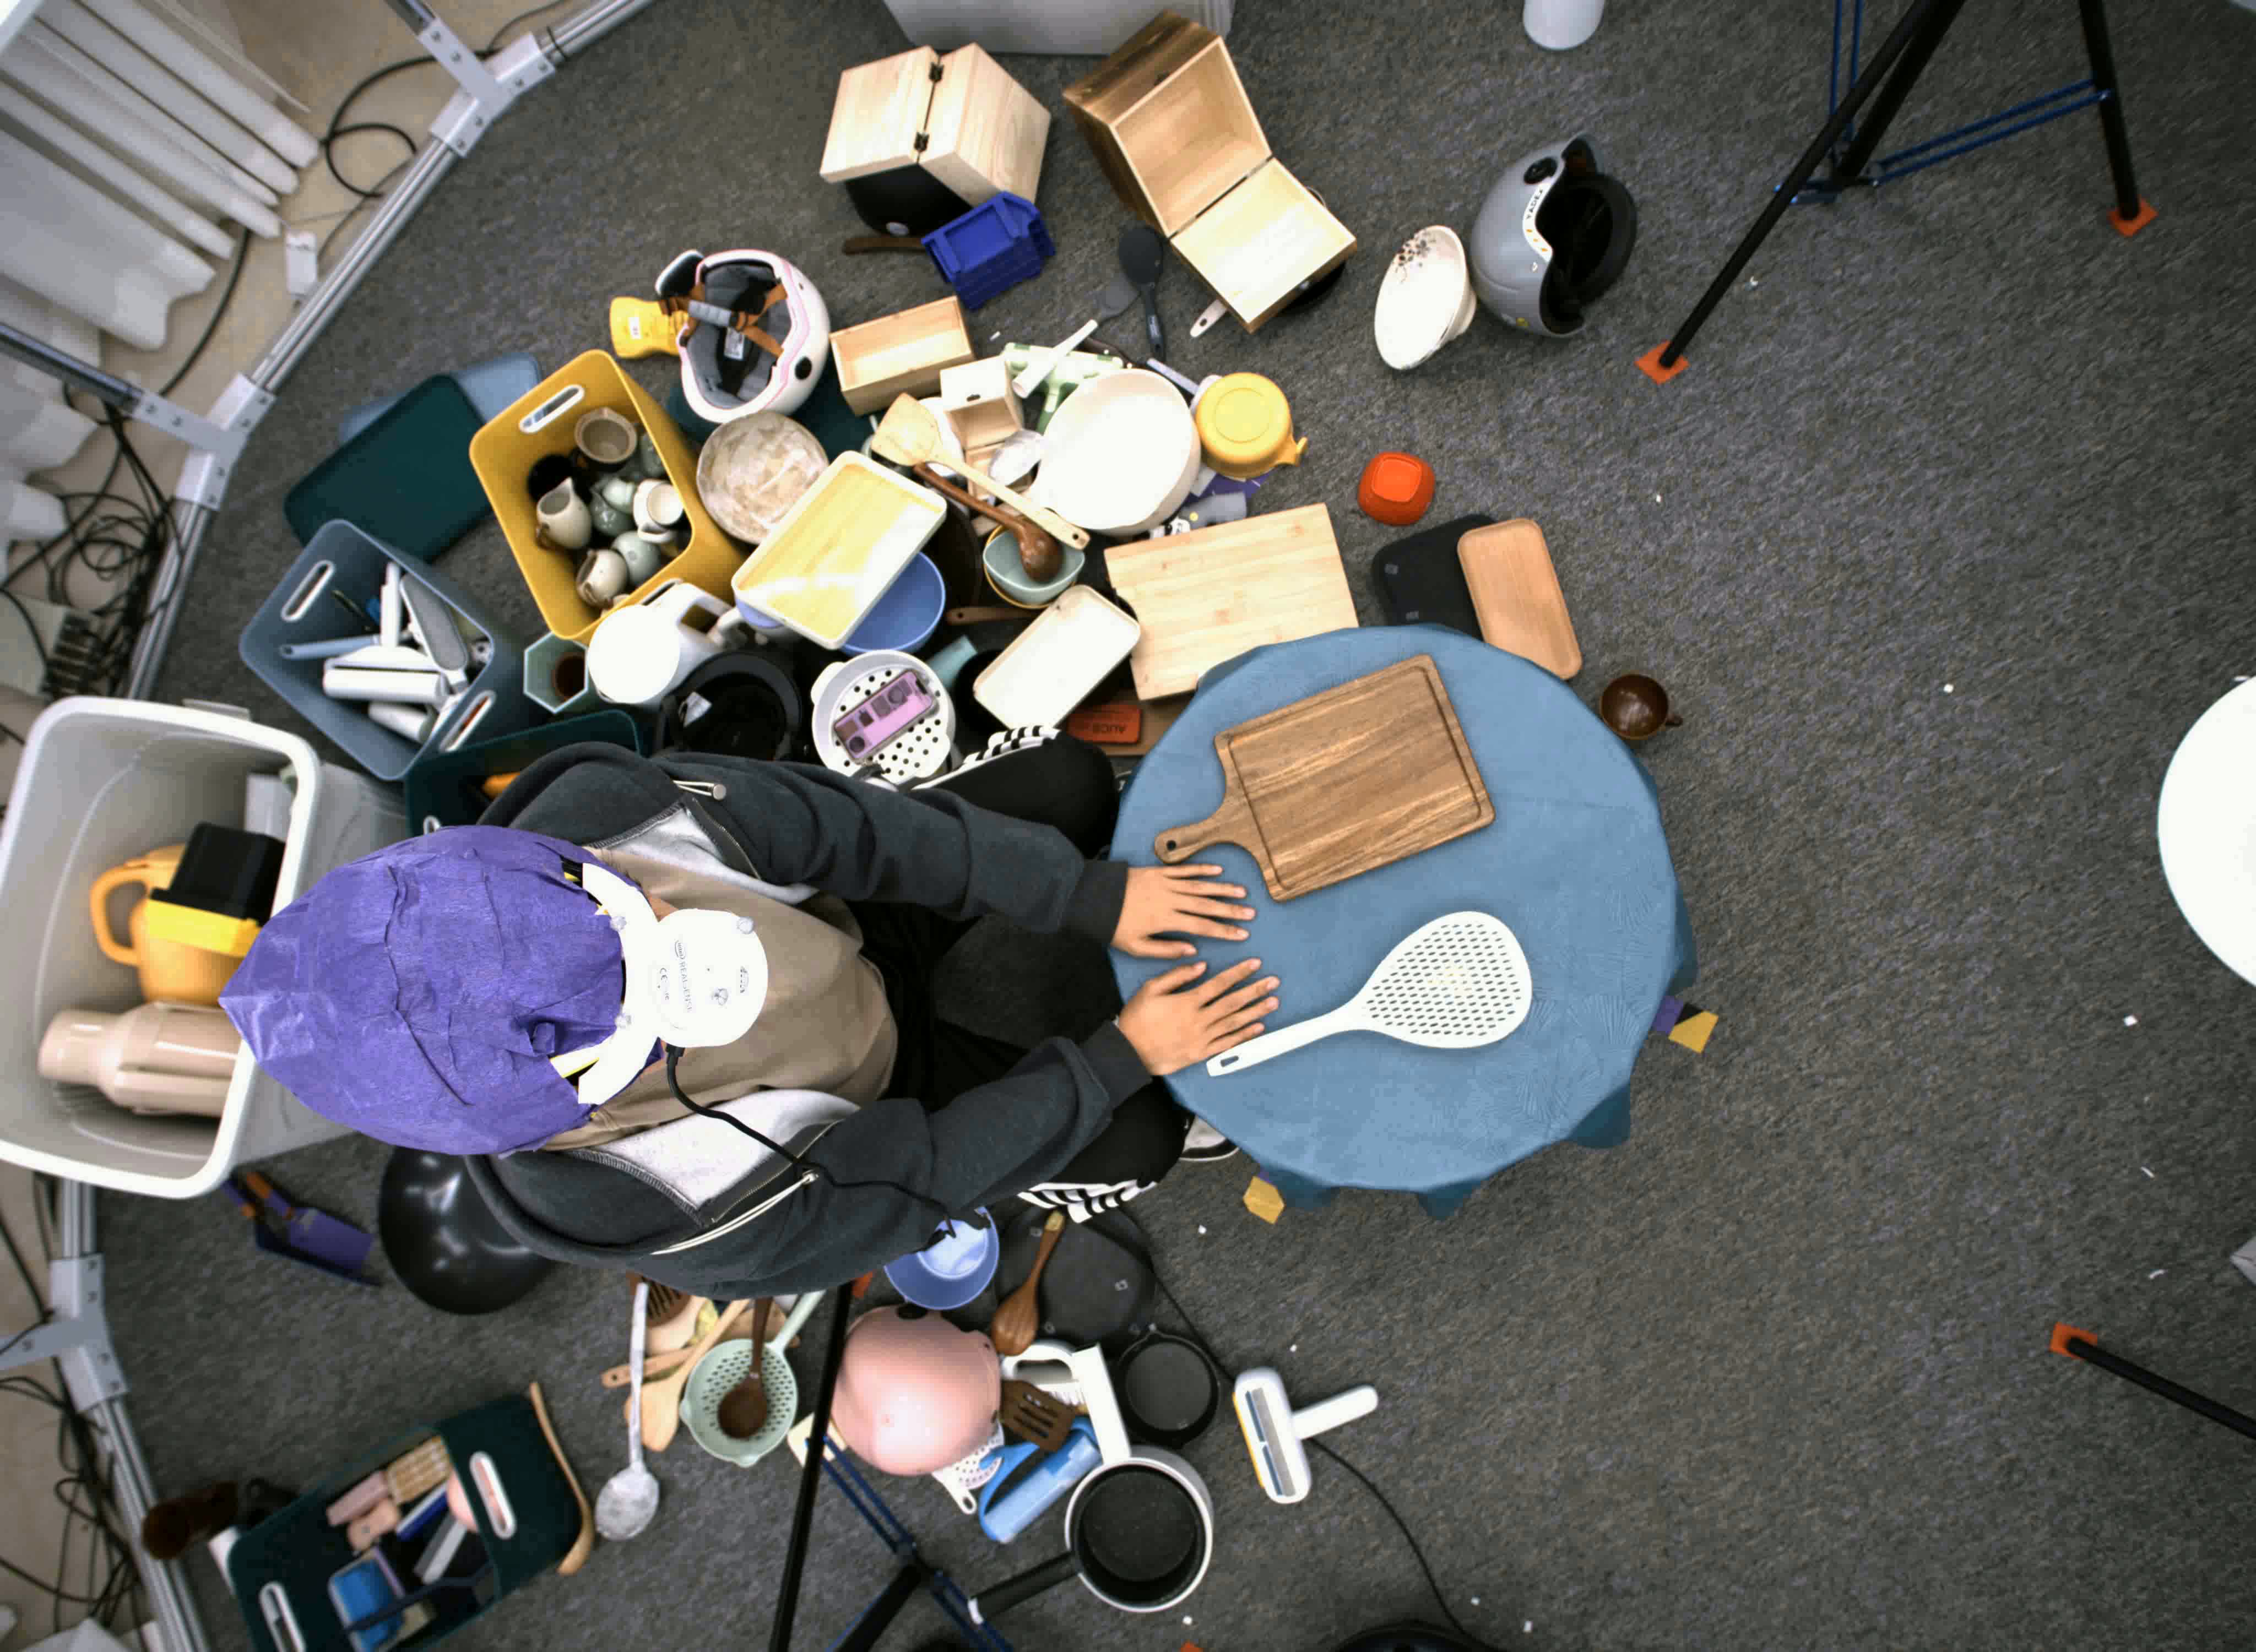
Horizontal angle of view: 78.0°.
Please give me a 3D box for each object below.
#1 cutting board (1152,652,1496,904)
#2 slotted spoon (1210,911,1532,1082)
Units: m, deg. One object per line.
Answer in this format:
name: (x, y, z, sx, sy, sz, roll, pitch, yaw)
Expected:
cutting board: (0.191, -0.035, 1.469, 0.354, 0.023, 0.200, -21, 83, 8)
slotted spoon: (0.243, 0.195, 1.436, 0.350, 0.050, 0.136, -21, 85, 8)
